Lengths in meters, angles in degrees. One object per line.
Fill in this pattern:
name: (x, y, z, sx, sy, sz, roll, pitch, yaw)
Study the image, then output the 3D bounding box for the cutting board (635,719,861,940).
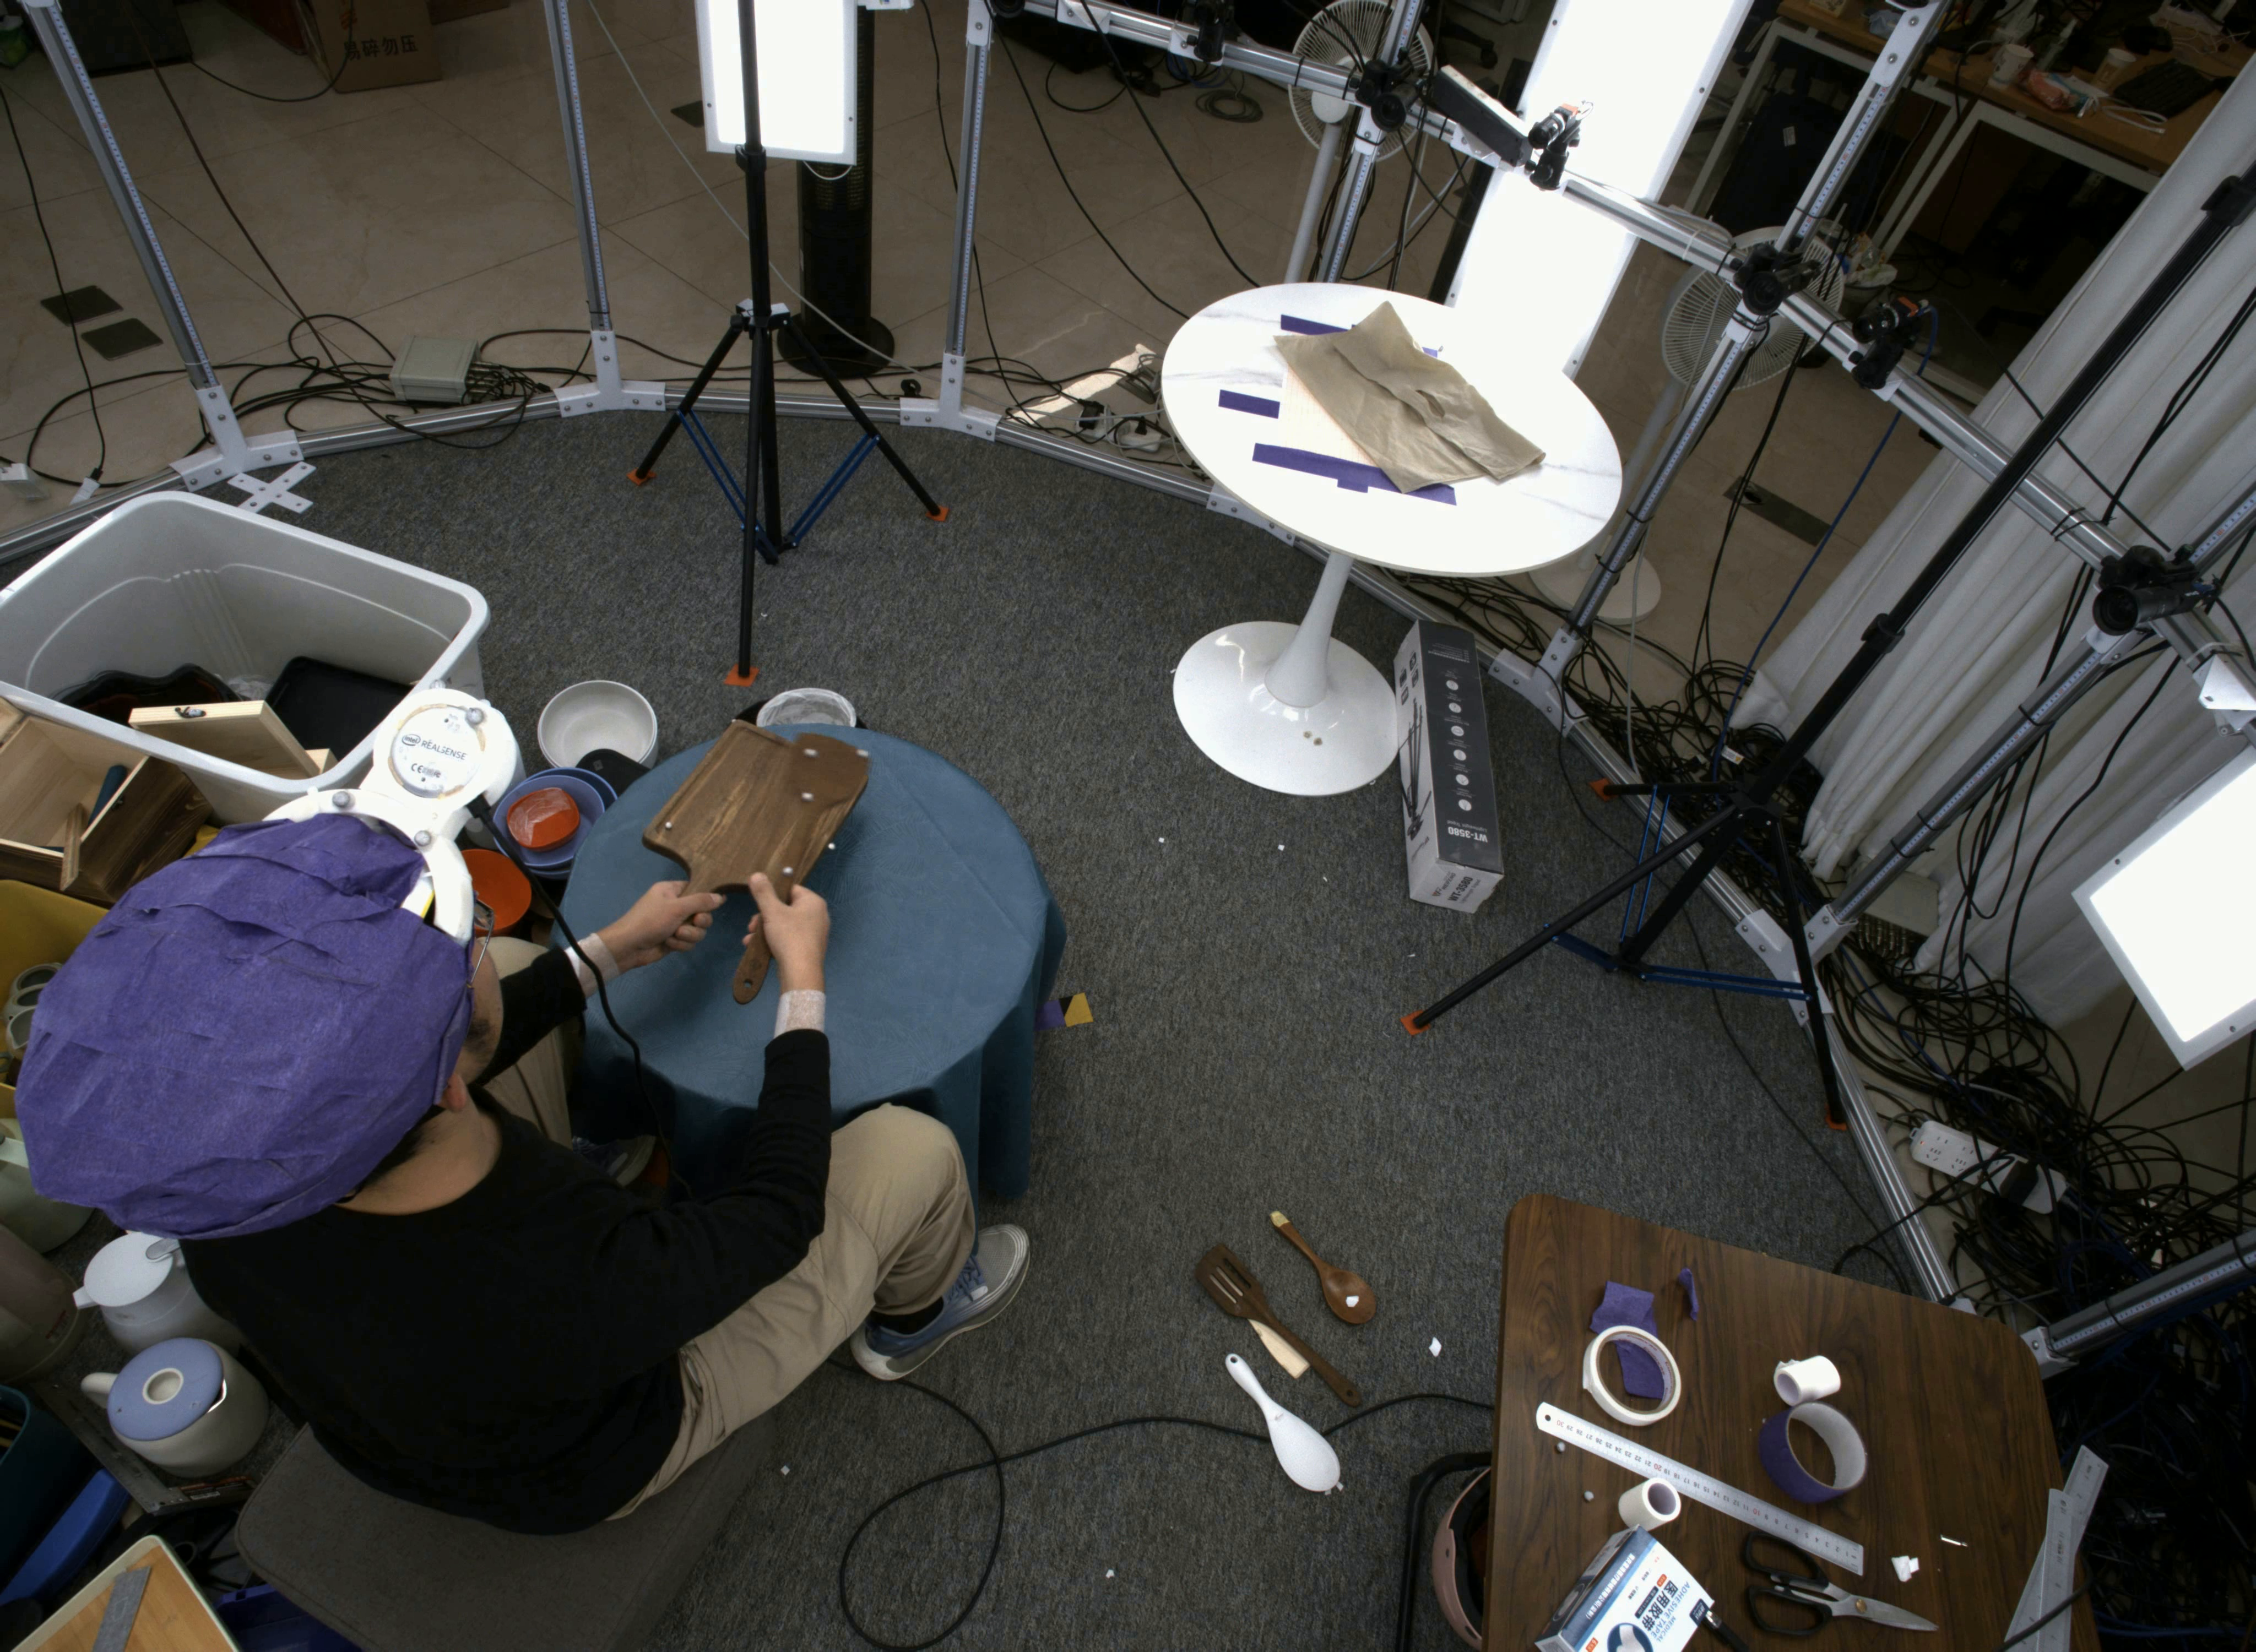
cutting board: (-0.481, 0.007, 1.581, 0.200, 0.023, 0.348, 24, 43, -4)

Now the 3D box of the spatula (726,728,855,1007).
spatula: (-0.384, 0.034, 1.435, 0.097, 0.016, 0.379, 19, 47, -16)
